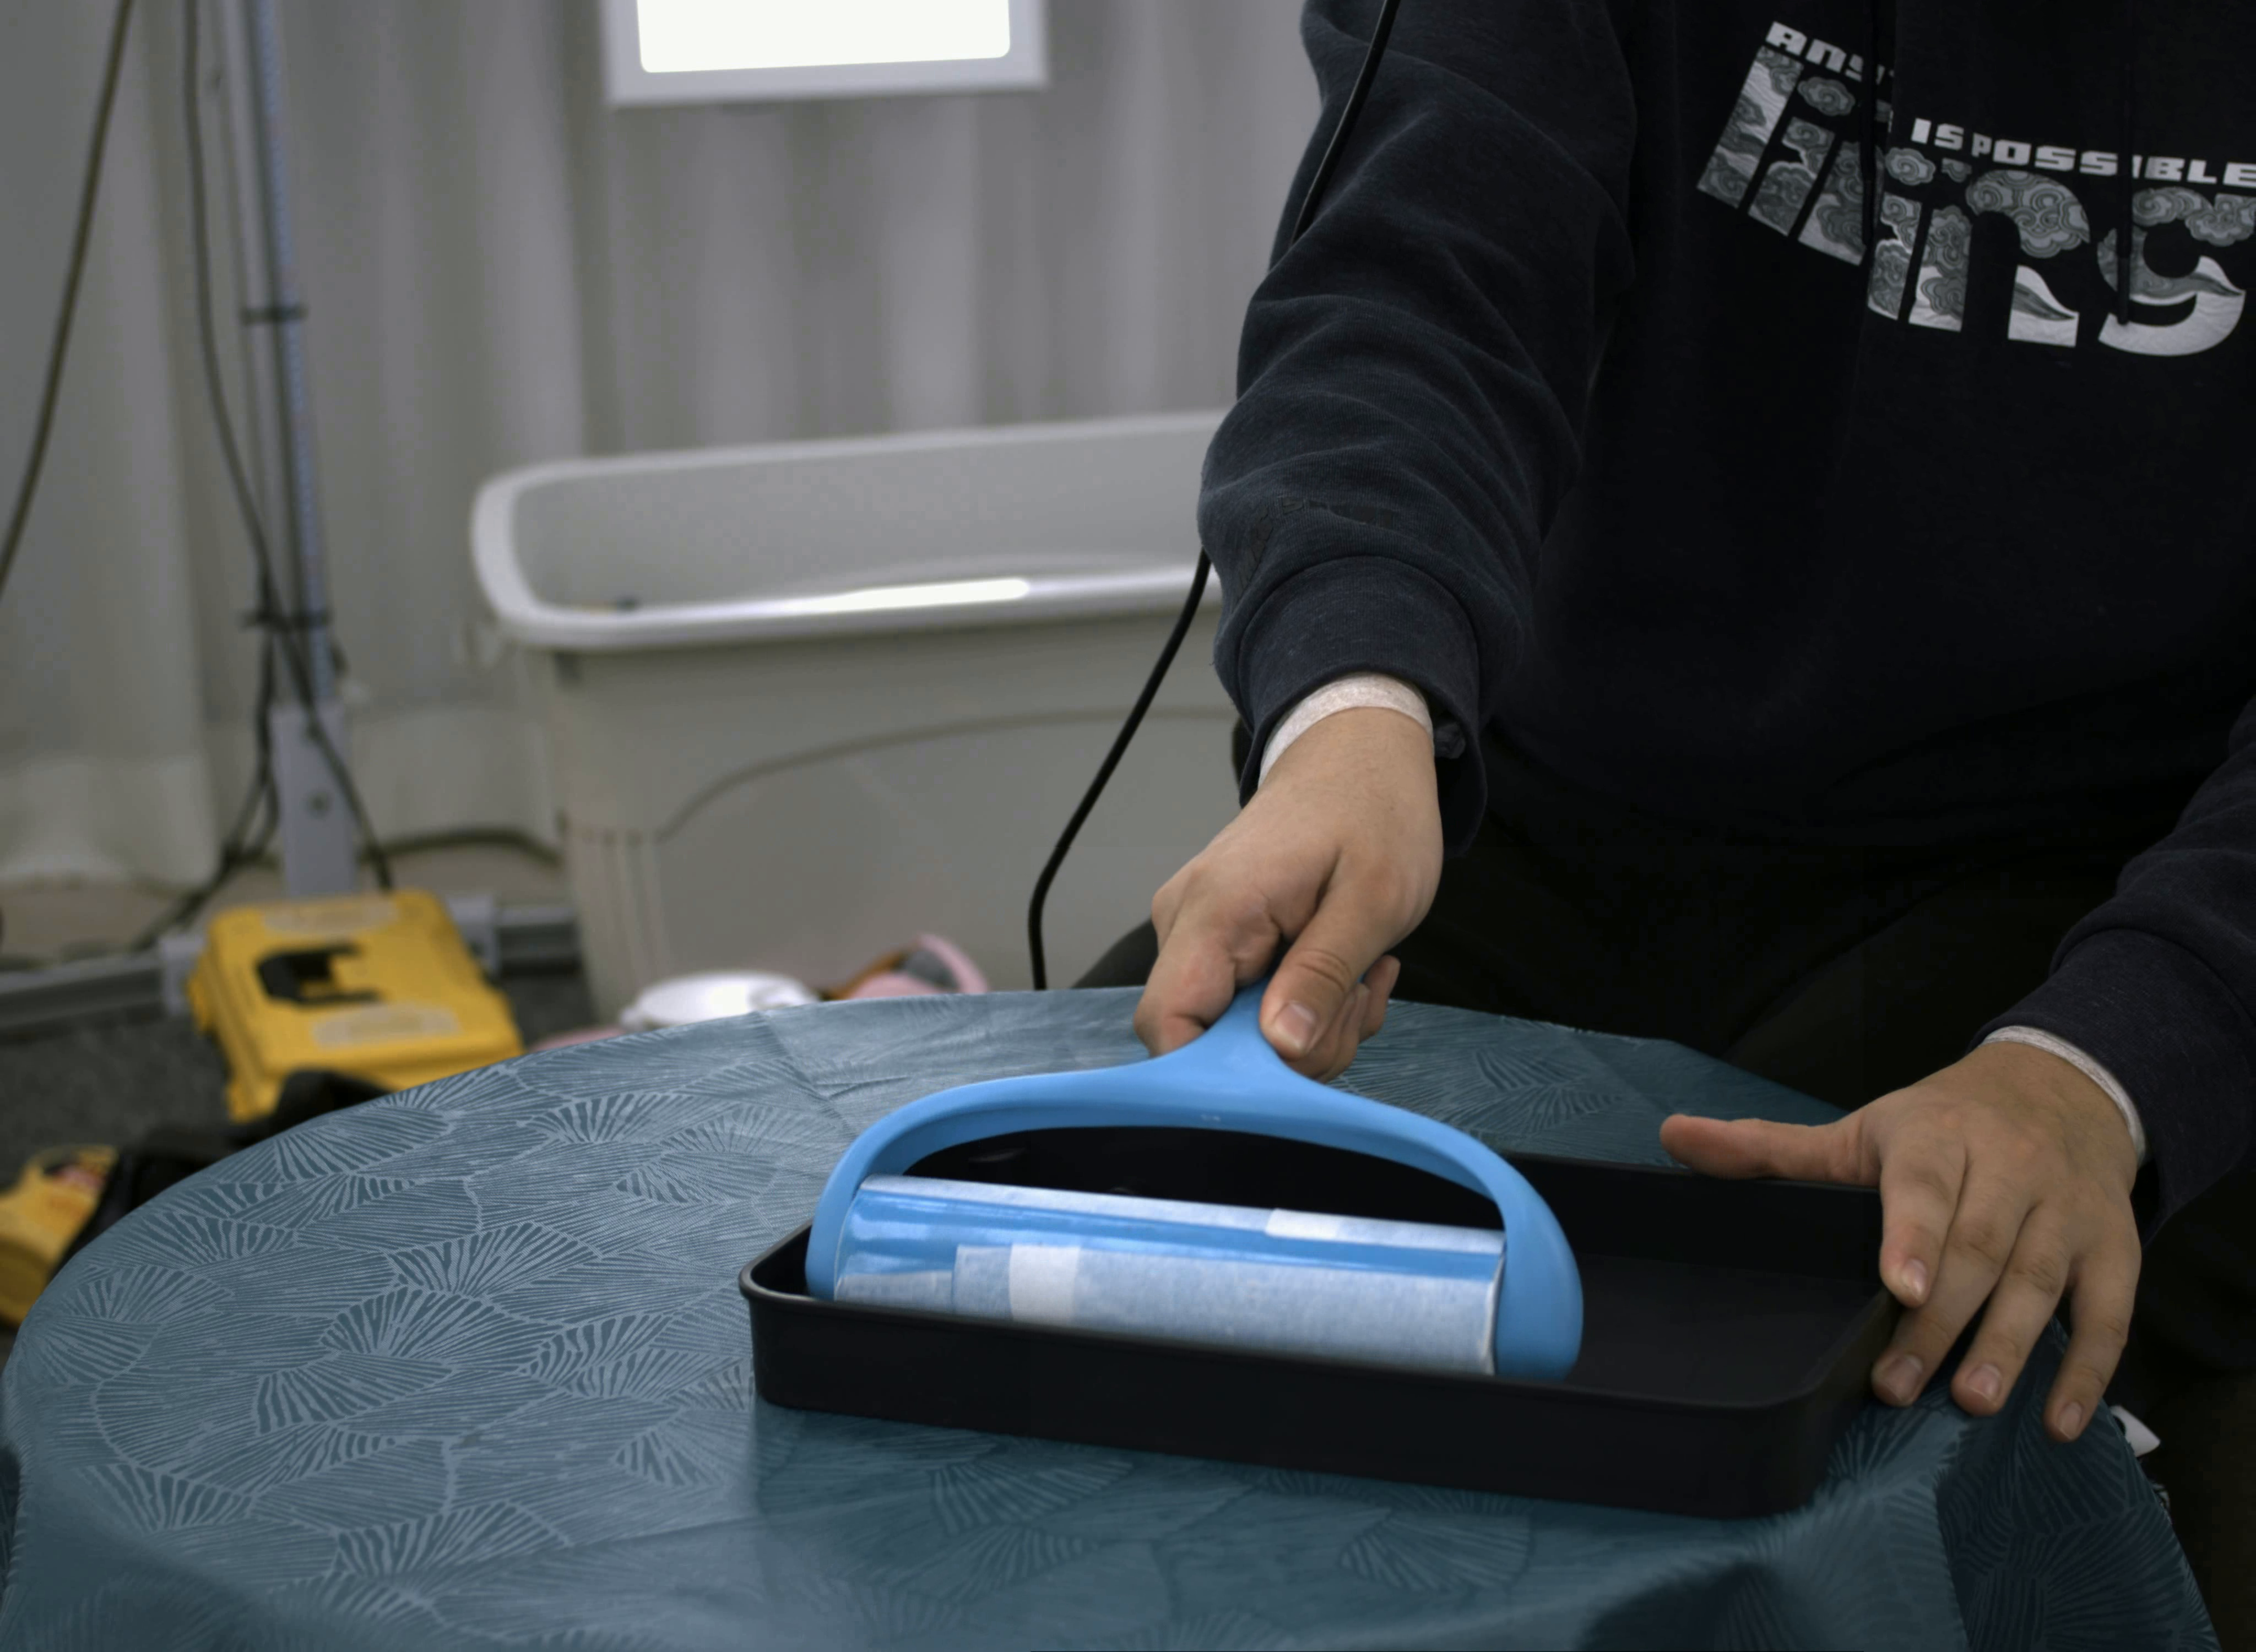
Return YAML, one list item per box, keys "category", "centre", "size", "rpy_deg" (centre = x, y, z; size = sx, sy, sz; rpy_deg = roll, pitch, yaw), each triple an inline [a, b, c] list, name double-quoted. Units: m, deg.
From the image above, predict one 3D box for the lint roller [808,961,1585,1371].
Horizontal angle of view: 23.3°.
- category: "lint roller"
  centre: [0.031, 0.089, 1.564]
  size: [0.229, 0.067, 0.182]
  rpy_deg: [1, 46, 21]

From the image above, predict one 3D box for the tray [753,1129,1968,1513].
- category: "tray"
  centre: [0.068, 0.138, 1.562]
  size: [0.318, 0.037, 0.185]
  rpy_deg: [2, 15, 23]
